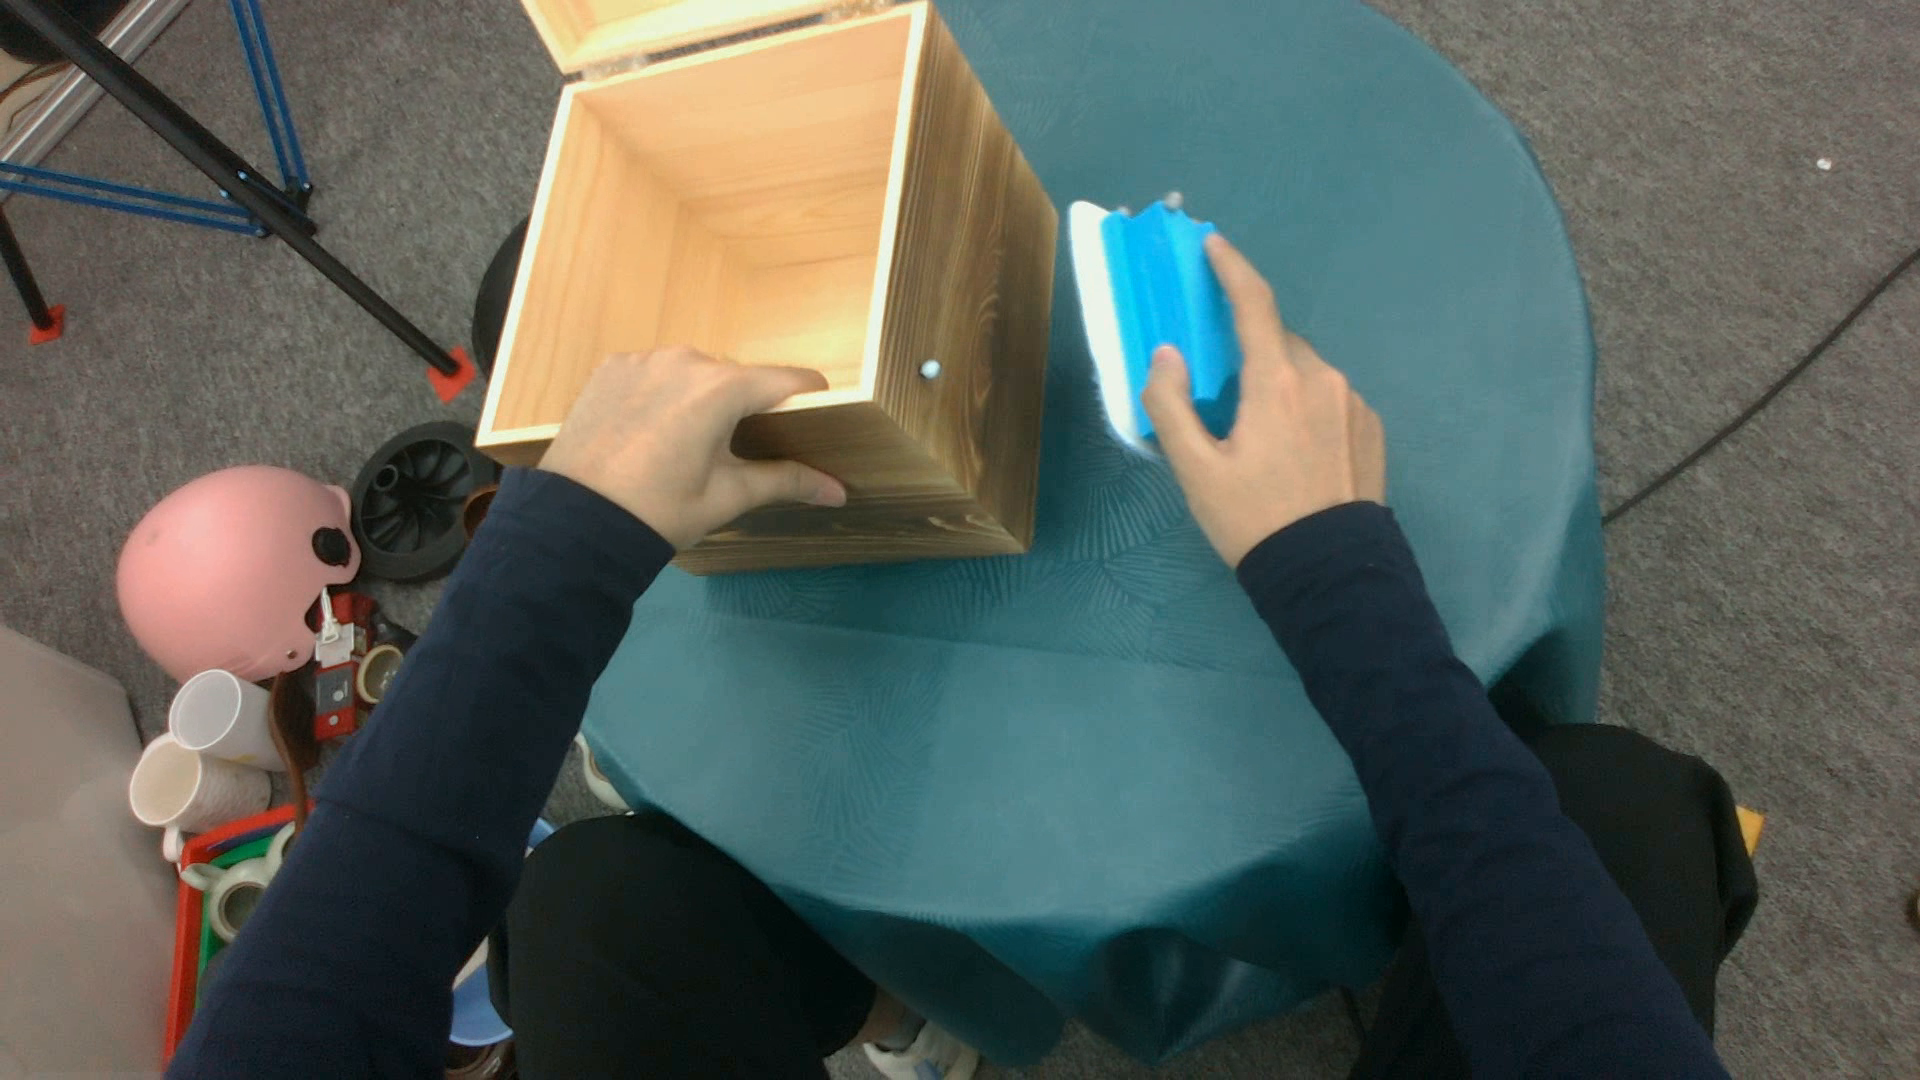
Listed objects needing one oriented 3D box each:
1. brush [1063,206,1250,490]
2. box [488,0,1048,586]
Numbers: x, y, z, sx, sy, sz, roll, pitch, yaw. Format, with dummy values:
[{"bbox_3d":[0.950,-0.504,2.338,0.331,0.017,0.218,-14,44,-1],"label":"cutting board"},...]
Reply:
[{"bbox_3d":[0.098,-0.096,0.641,0.055,0.084,0.144,-38,51,43],"label":"brush"},{"bbox_3d":[-0.123,-0.186,0.635,0.208,0.375,0.323,-6,66,25],"label":"box"}]
